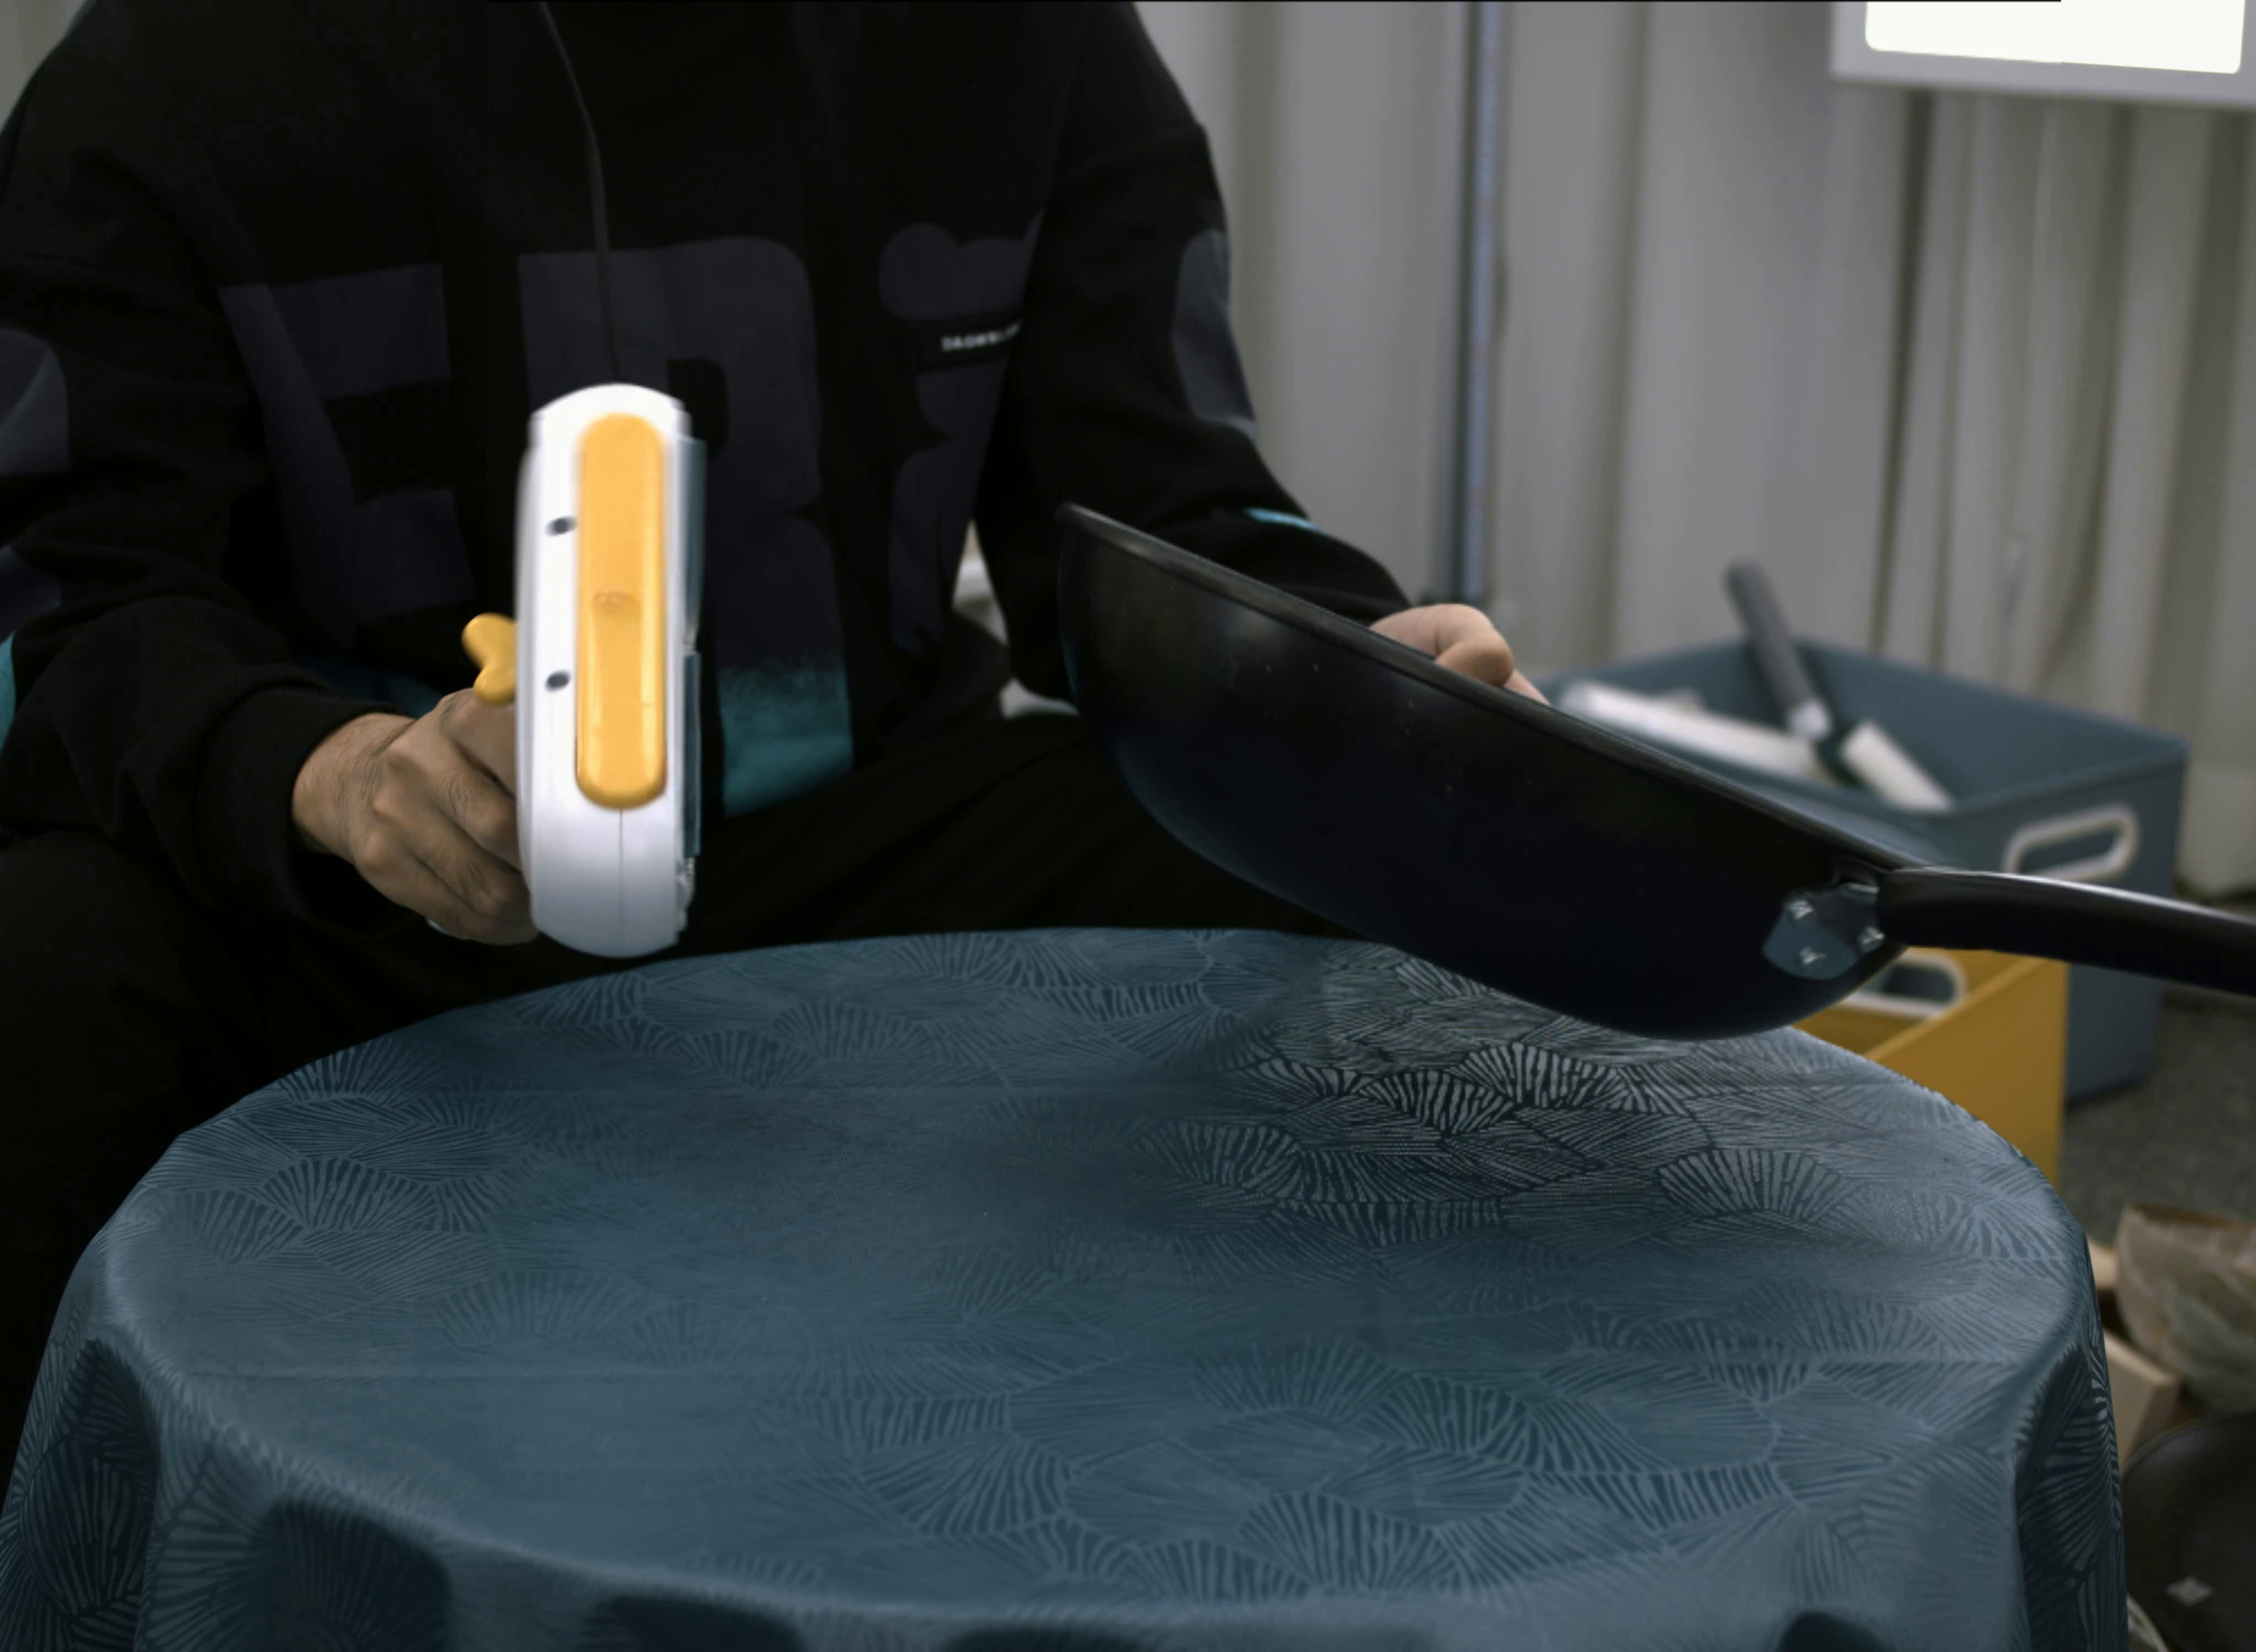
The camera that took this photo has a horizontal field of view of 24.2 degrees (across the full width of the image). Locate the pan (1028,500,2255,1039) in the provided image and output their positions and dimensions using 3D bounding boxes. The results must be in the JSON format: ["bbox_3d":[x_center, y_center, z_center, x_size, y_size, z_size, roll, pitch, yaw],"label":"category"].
[{"bbox_3d":[0.159,0.012,1.600,0.470,0.112,0.313,25,5,39],"label":"pan"}]

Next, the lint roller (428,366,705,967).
[{"bbox_3d":[-0.180,-0.022,1.669,0.074,0.193,0.191,4,53,-15],"label":"lint roller"}]
